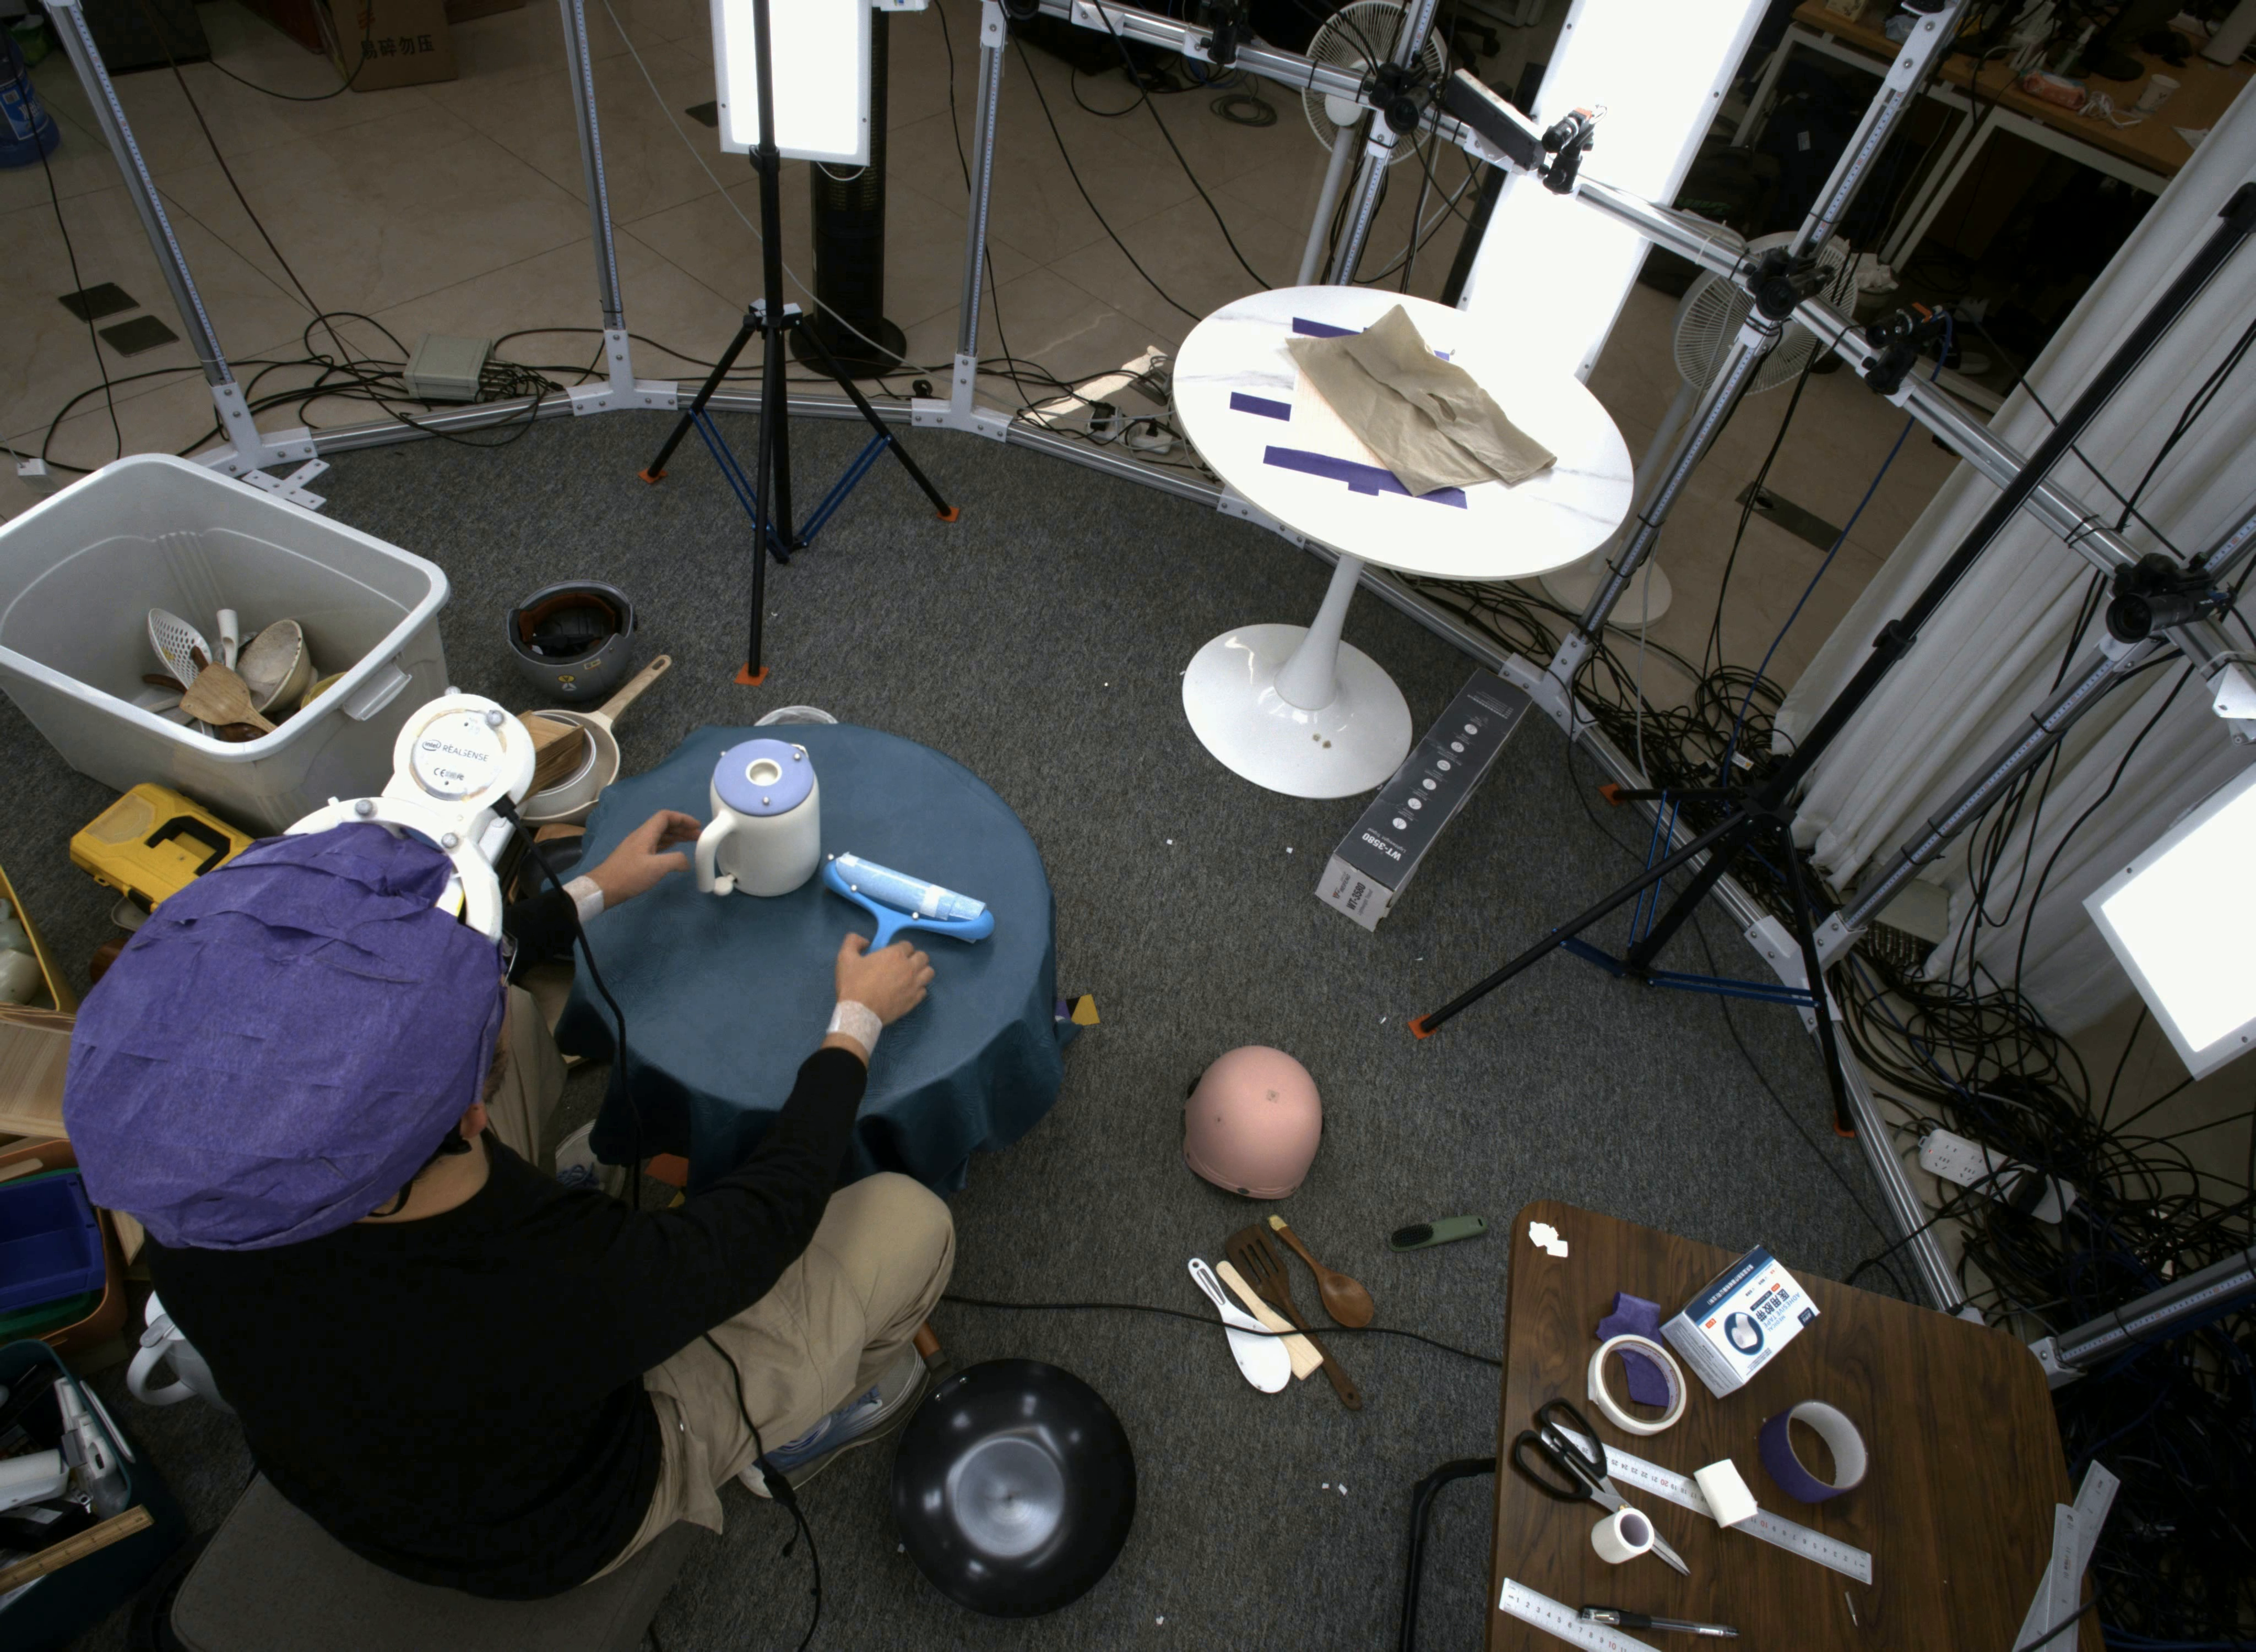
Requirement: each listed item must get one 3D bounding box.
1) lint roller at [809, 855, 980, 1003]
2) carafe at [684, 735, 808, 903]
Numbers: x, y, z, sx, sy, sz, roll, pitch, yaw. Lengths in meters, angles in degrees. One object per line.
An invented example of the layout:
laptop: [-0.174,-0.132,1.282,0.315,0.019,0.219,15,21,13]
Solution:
lint roller: [-0.309,0.131,1.613,0.228,0.069,0.178,20,45,-3]
carafe: [-0.479,0.005,1.589,0.130,0.186,0.190,29,54,11]
